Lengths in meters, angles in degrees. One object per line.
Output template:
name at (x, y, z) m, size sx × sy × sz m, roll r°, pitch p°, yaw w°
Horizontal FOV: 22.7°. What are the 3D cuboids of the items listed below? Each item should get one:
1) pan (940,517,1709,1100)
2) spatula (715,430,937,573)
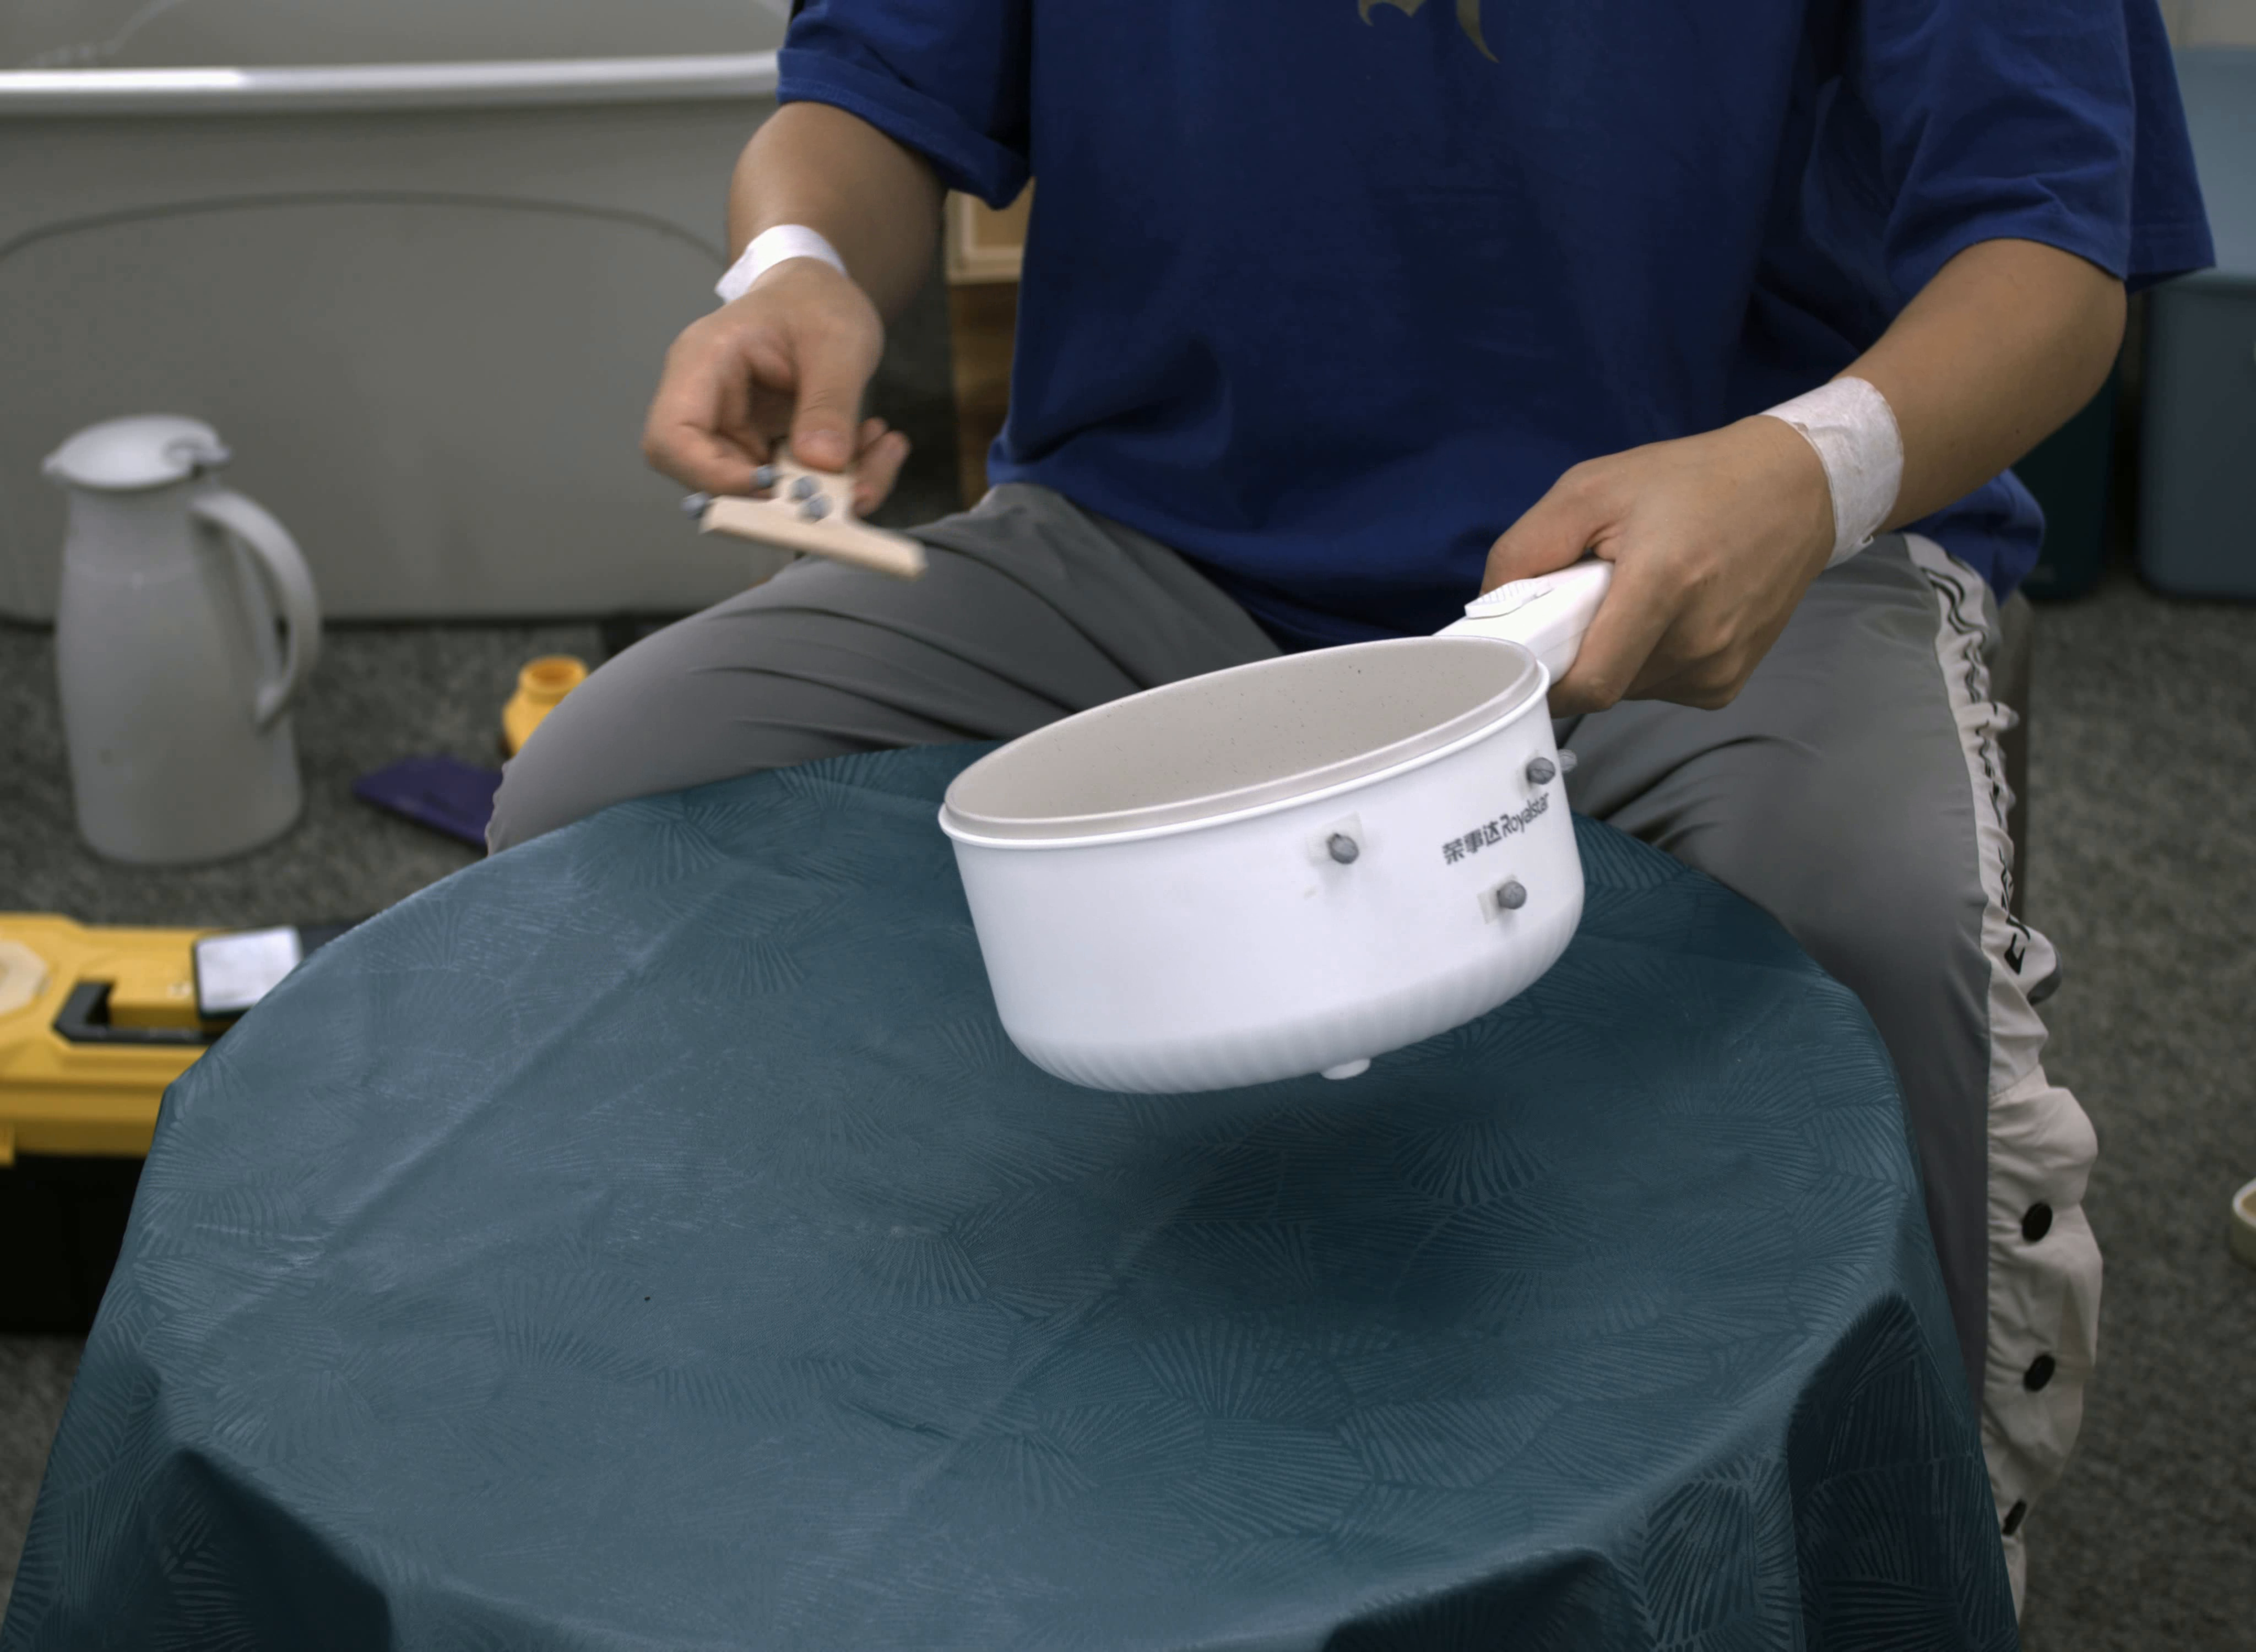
pan at (0.092, -0.008, 1.868) m, size 0.199 × 0.102 × 0.359 m, roll -7°, pitch 13°, yaw 39°
spatula at (-0.103, -0.113, 1.917) m, size 0.072 × 0.010 × 0.294 m, roll 12°, pitch 10°, yaw -5°
